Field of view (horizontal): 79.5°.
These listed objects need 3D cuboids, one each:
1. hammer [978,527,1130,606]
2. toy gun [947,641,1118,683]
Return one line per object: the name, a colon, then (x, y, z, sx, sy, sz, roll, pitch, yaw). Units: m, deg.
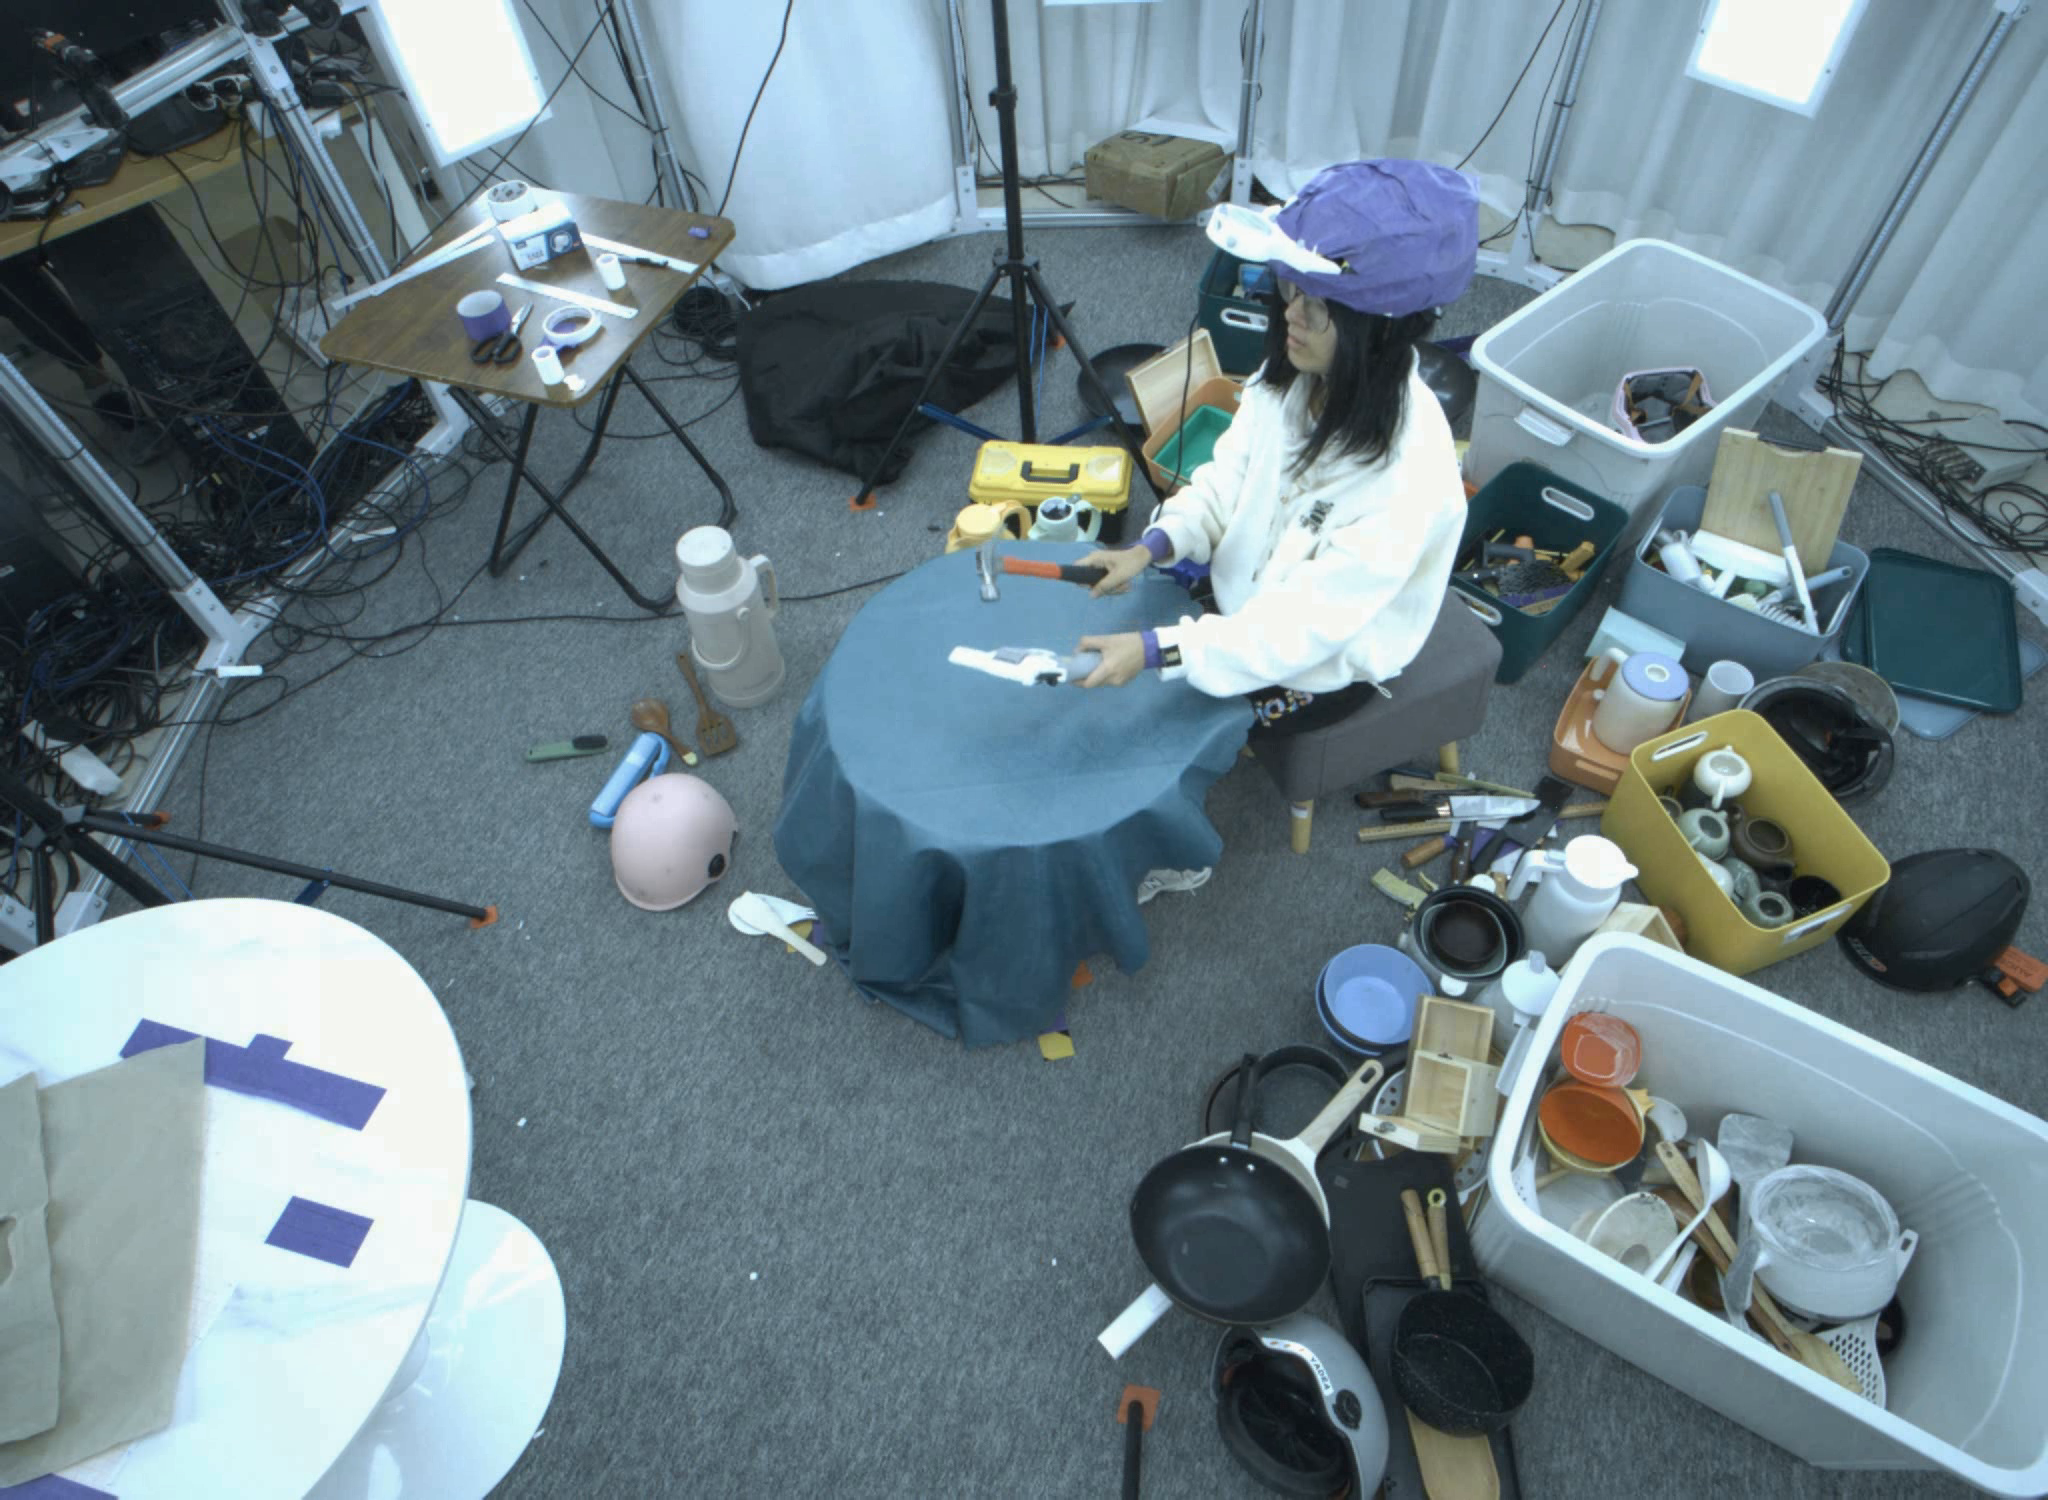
hammer: (0.048, -0.256, 1.765, 0.283, 0.026, 0.110, -2, 77, -42)
toy gun: (0.014, -0.134, 1.738, 0.206, 0.039, 0.143, 16, 31, 21)
